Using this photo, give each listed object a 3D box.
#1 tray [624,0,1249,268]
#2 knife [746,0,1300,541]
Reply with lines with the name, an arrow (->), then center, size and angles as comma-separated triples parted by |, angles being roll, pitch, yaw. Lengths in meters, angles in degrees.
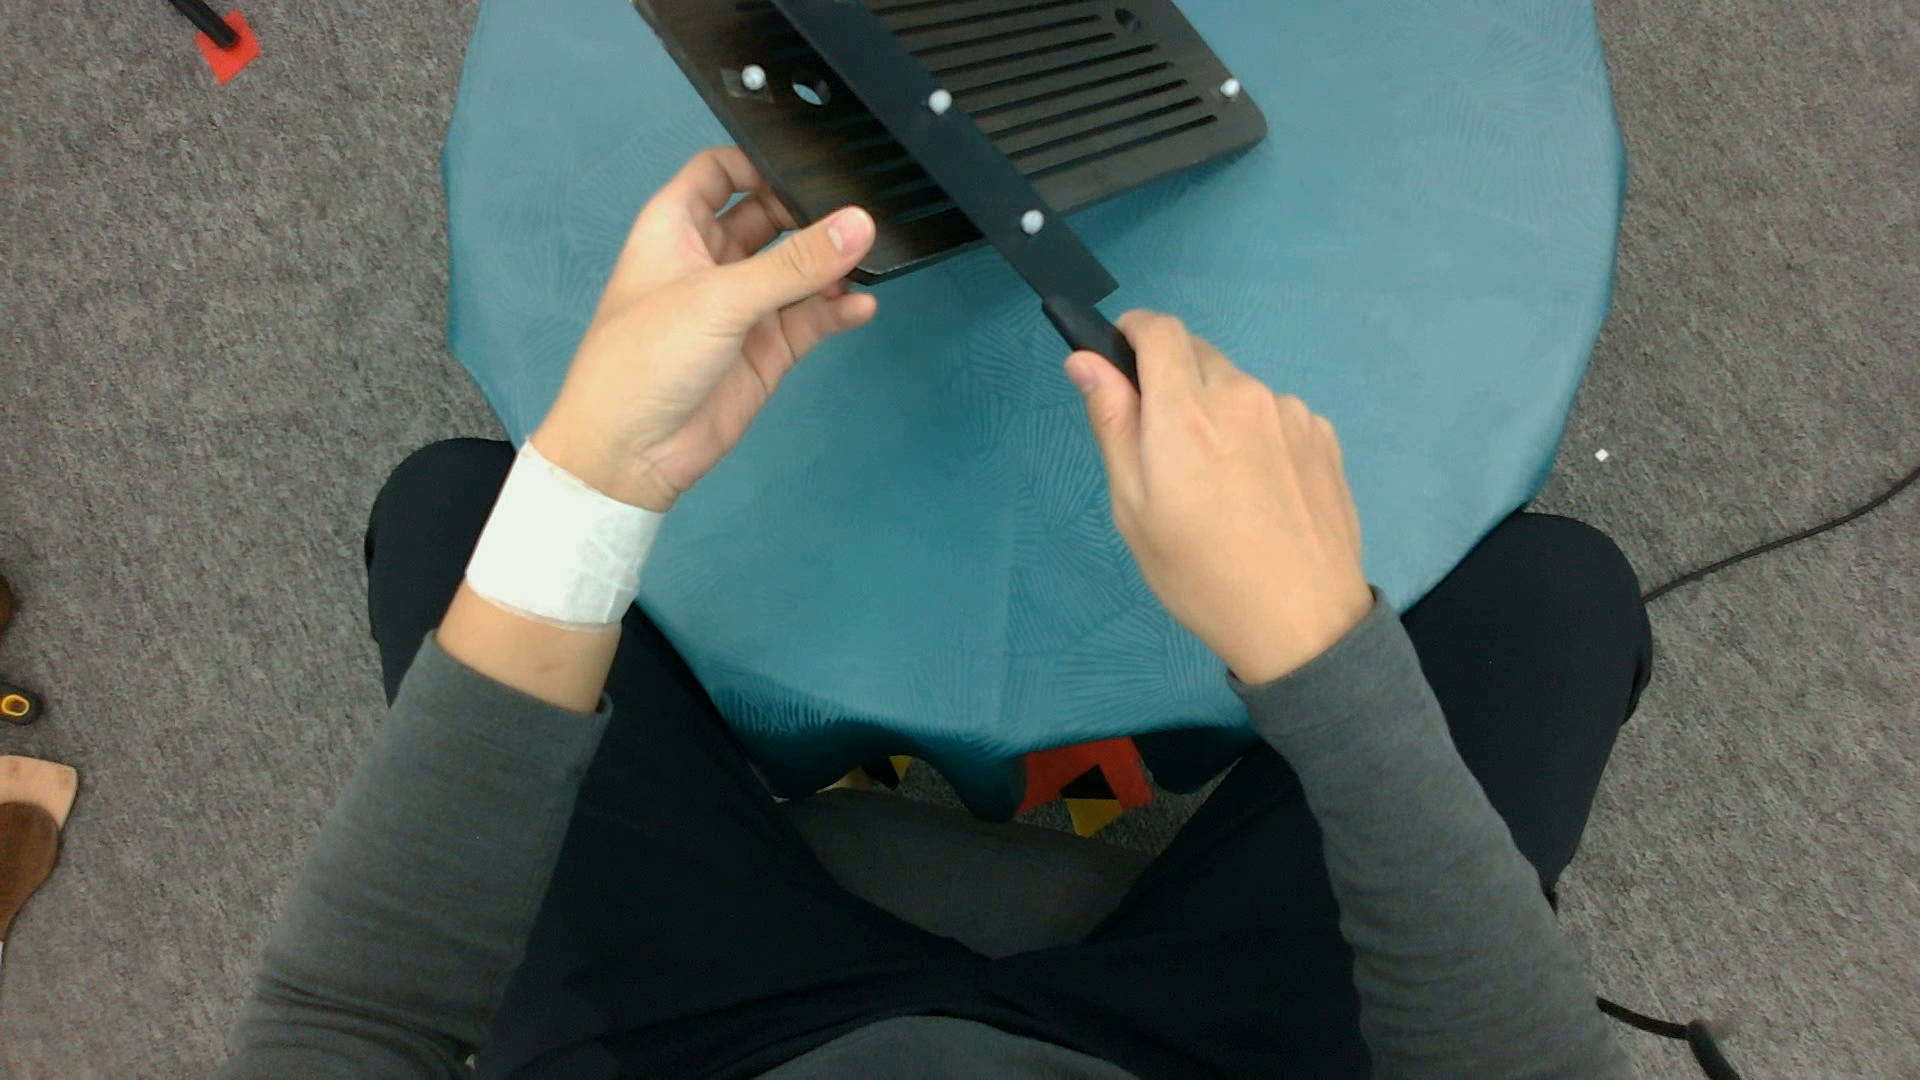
tray -> 0.001, -0.220, 0.612 | 0.307, 0.018, 0.170 | -30, 81, -42
knife -> 0.024, -0.116, 0.532 | 0.302, 0.081, 0.021 | 49, 124, 5
